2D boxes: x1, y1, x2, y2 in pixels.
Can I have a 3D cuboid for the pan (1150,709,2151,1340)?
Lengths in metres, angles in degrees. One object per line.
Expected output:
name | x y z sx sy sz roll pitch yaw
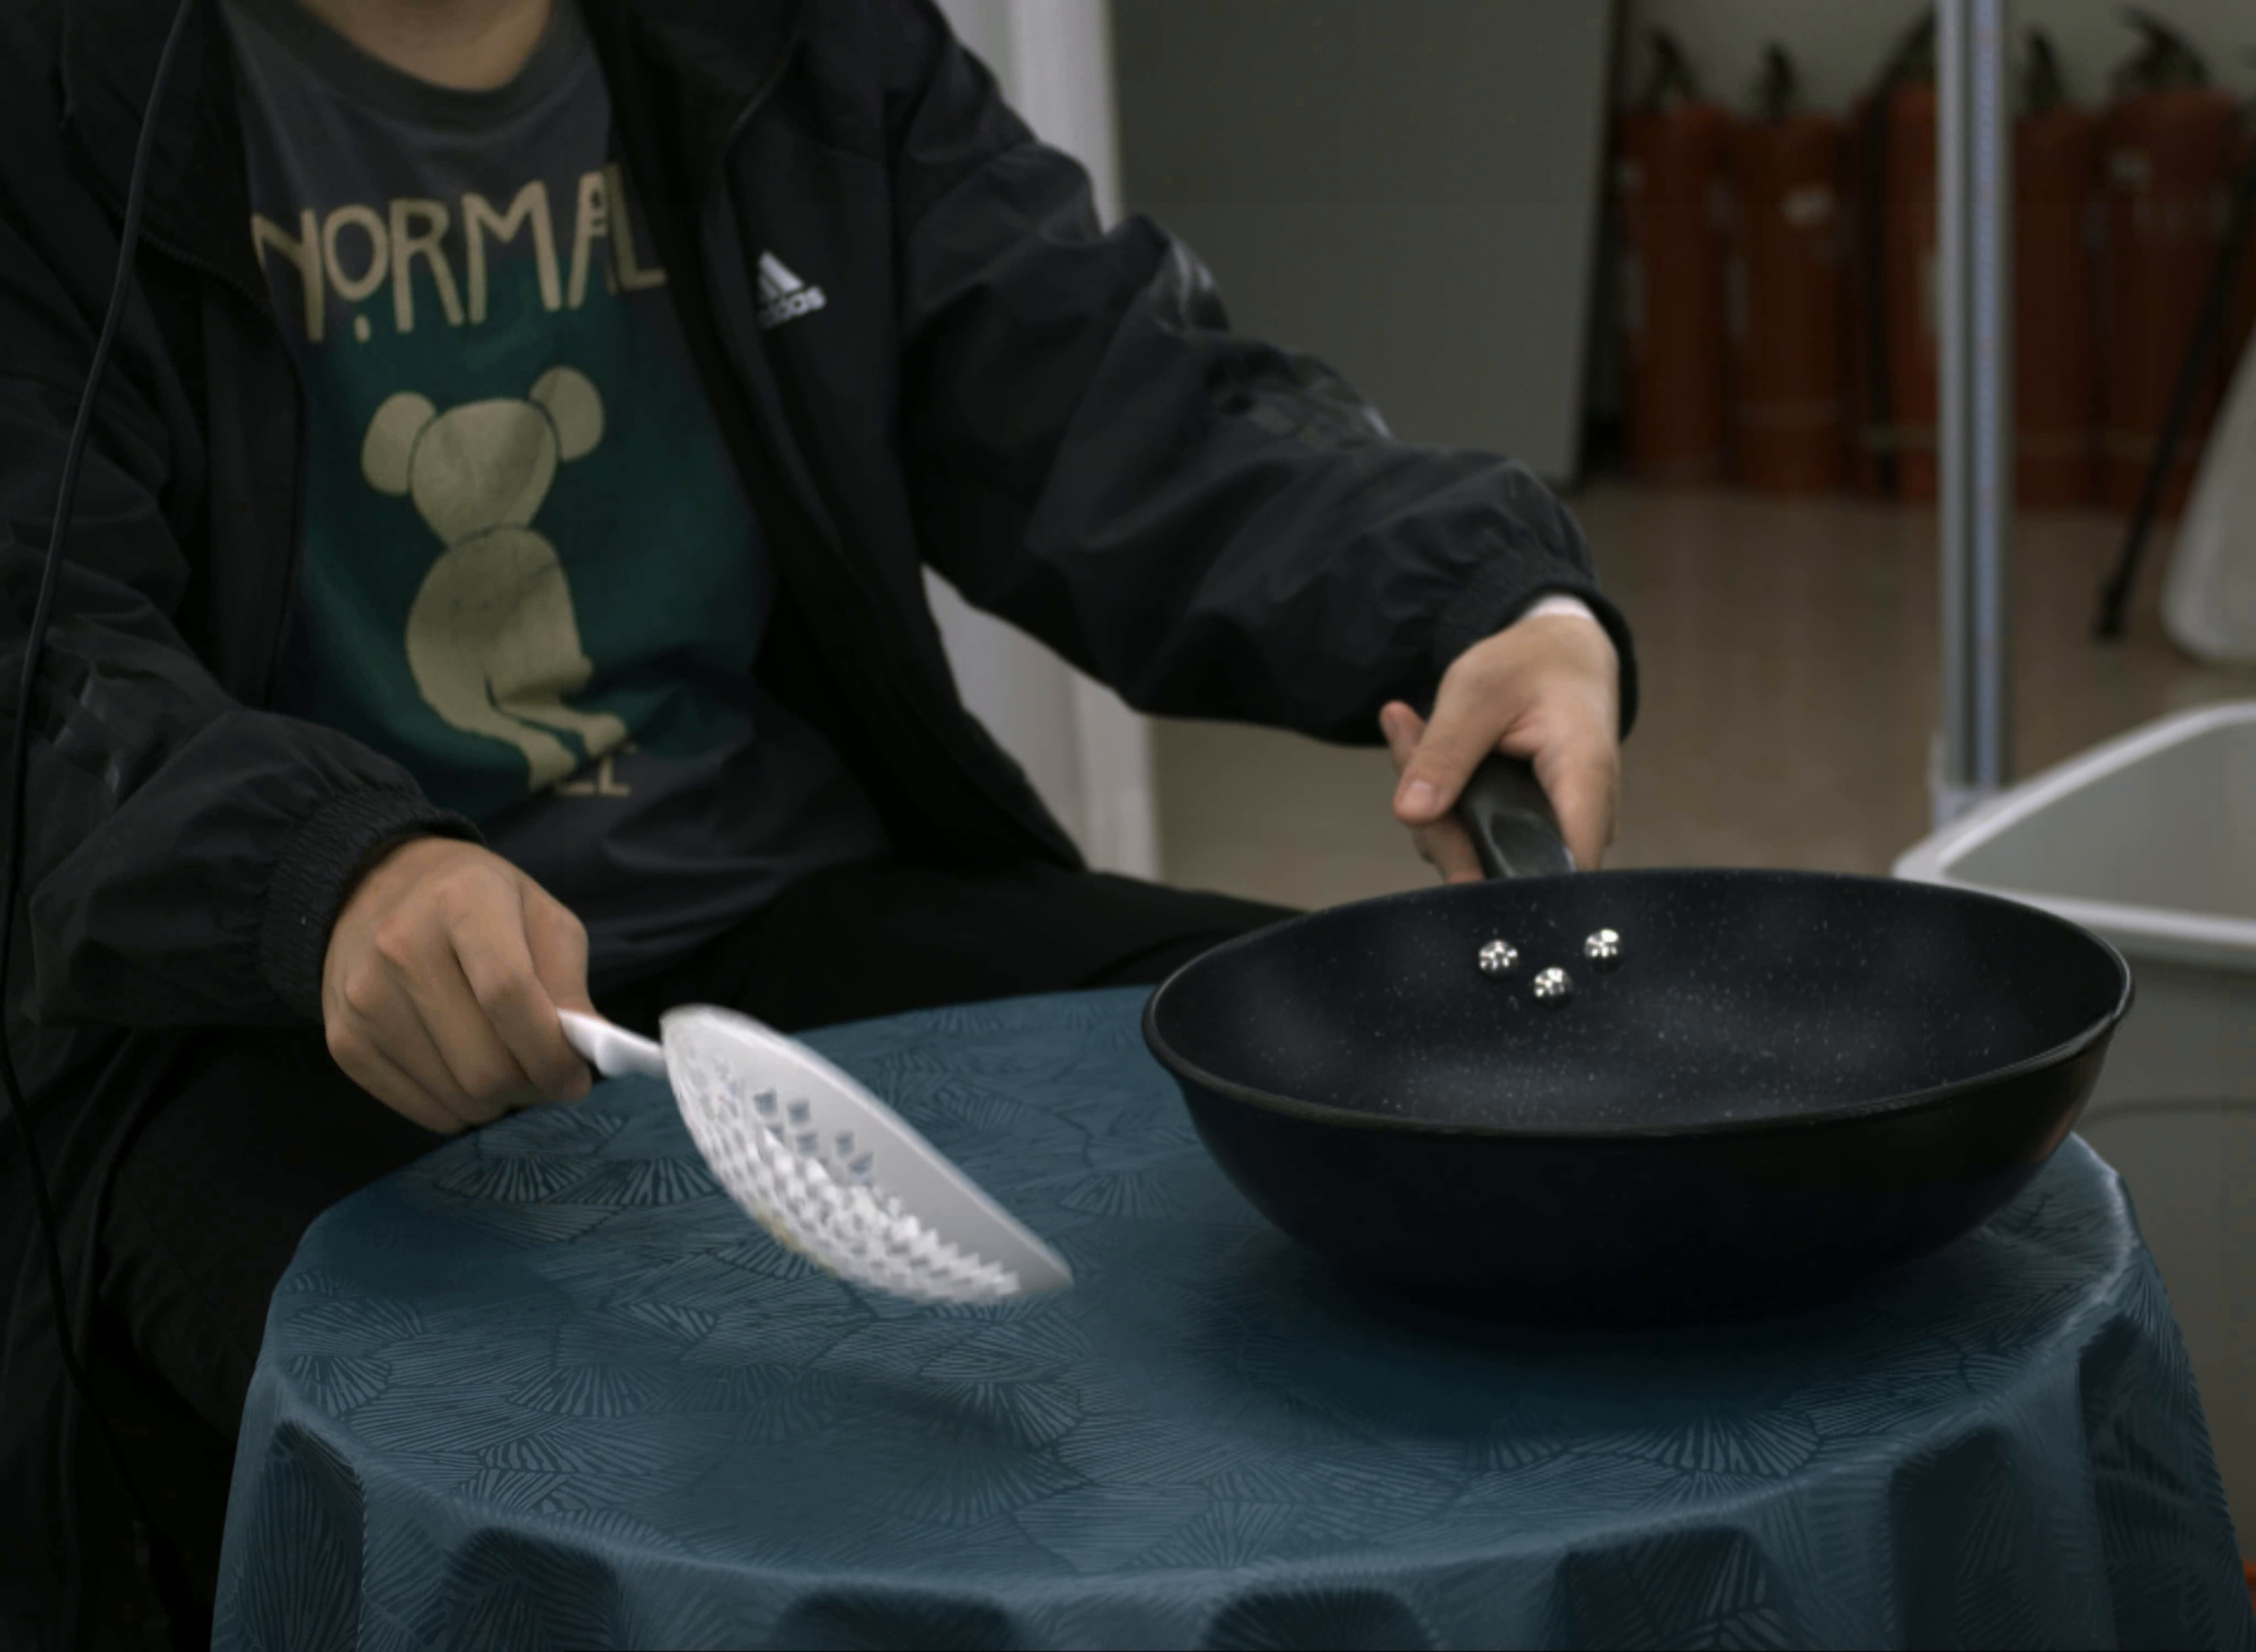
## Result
pan | 0.151 0.063 1.744 0.305 0.113 0.479 -4 13 -5

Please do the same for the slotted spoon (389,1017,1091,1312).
slotted spoon | -0.135 0.090 1.644 0.135 0.050 0.351 40 -11 -30
